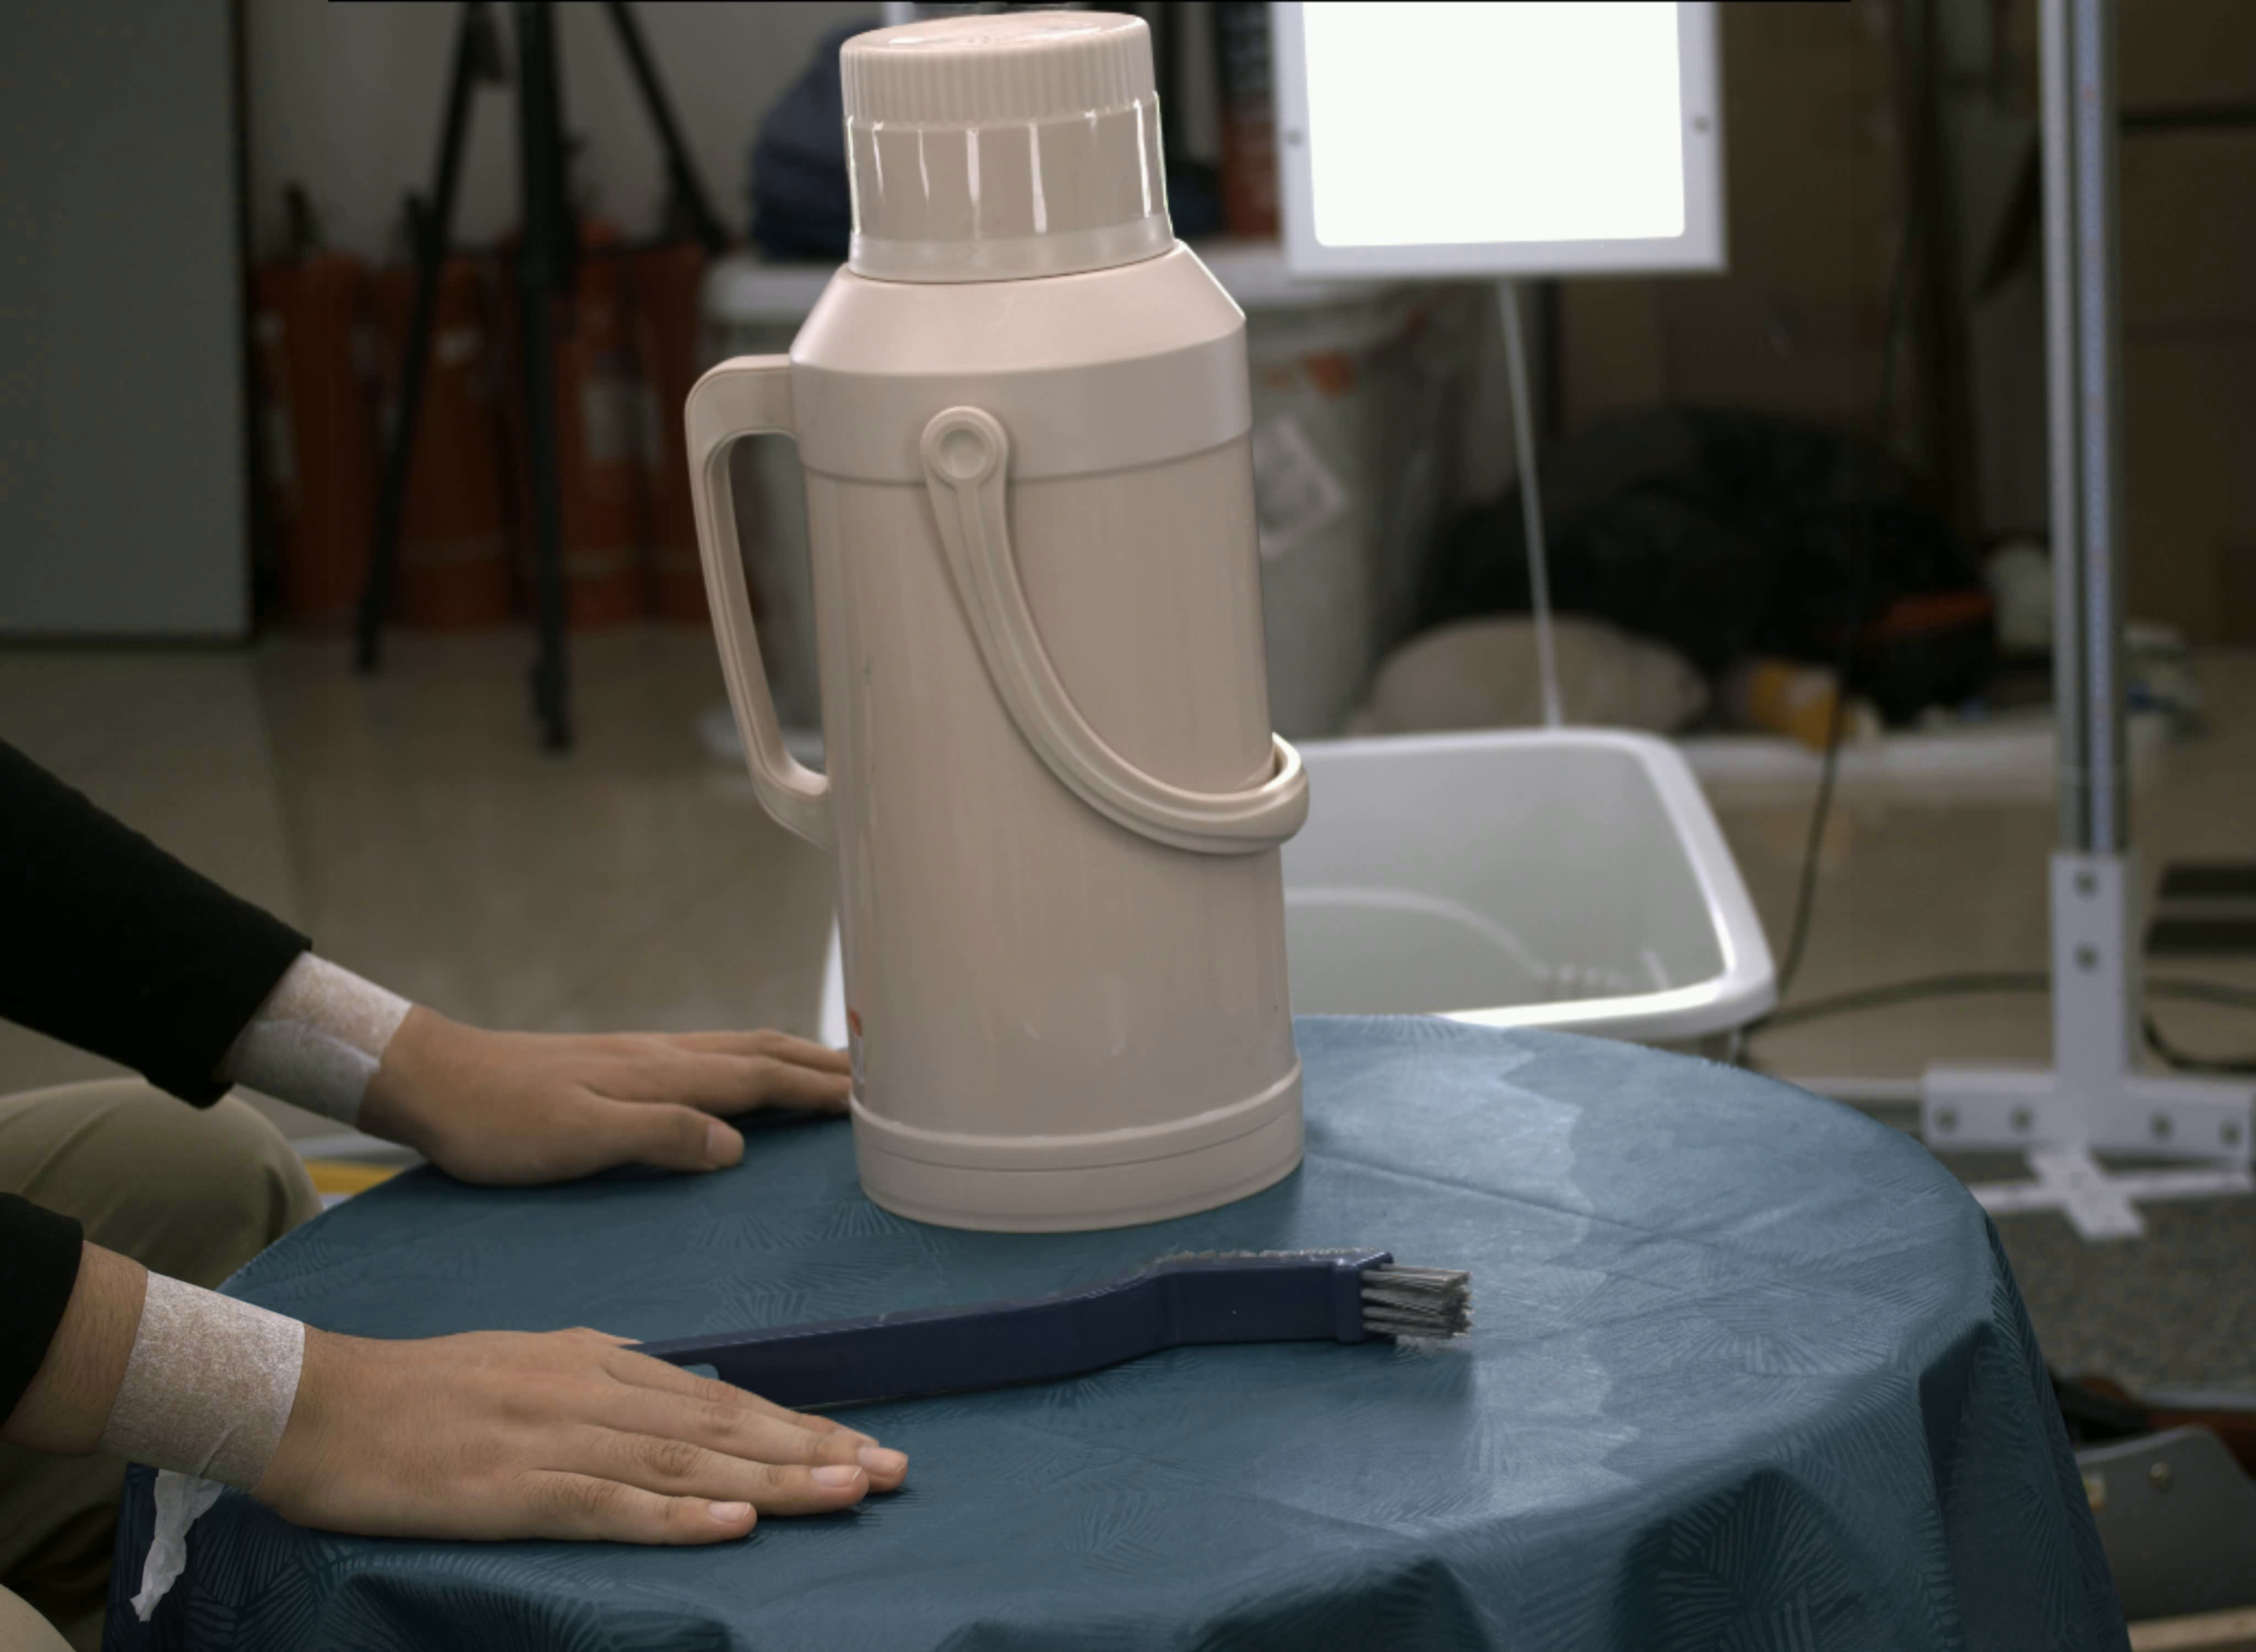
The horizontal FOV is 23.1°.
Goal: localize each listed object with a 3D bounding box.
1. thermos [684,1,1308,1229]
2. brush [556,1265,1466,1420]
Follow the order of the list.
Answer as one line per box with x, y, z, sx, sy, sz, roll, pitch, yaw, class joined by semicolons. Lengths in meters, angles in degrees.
-0.044;-0.073;1.895;0.209;0.408;0.173;-1;16;13;thermos
-0.037;0.160;1.707;0.269;0.033;0.097;-6;13;-15;brush
